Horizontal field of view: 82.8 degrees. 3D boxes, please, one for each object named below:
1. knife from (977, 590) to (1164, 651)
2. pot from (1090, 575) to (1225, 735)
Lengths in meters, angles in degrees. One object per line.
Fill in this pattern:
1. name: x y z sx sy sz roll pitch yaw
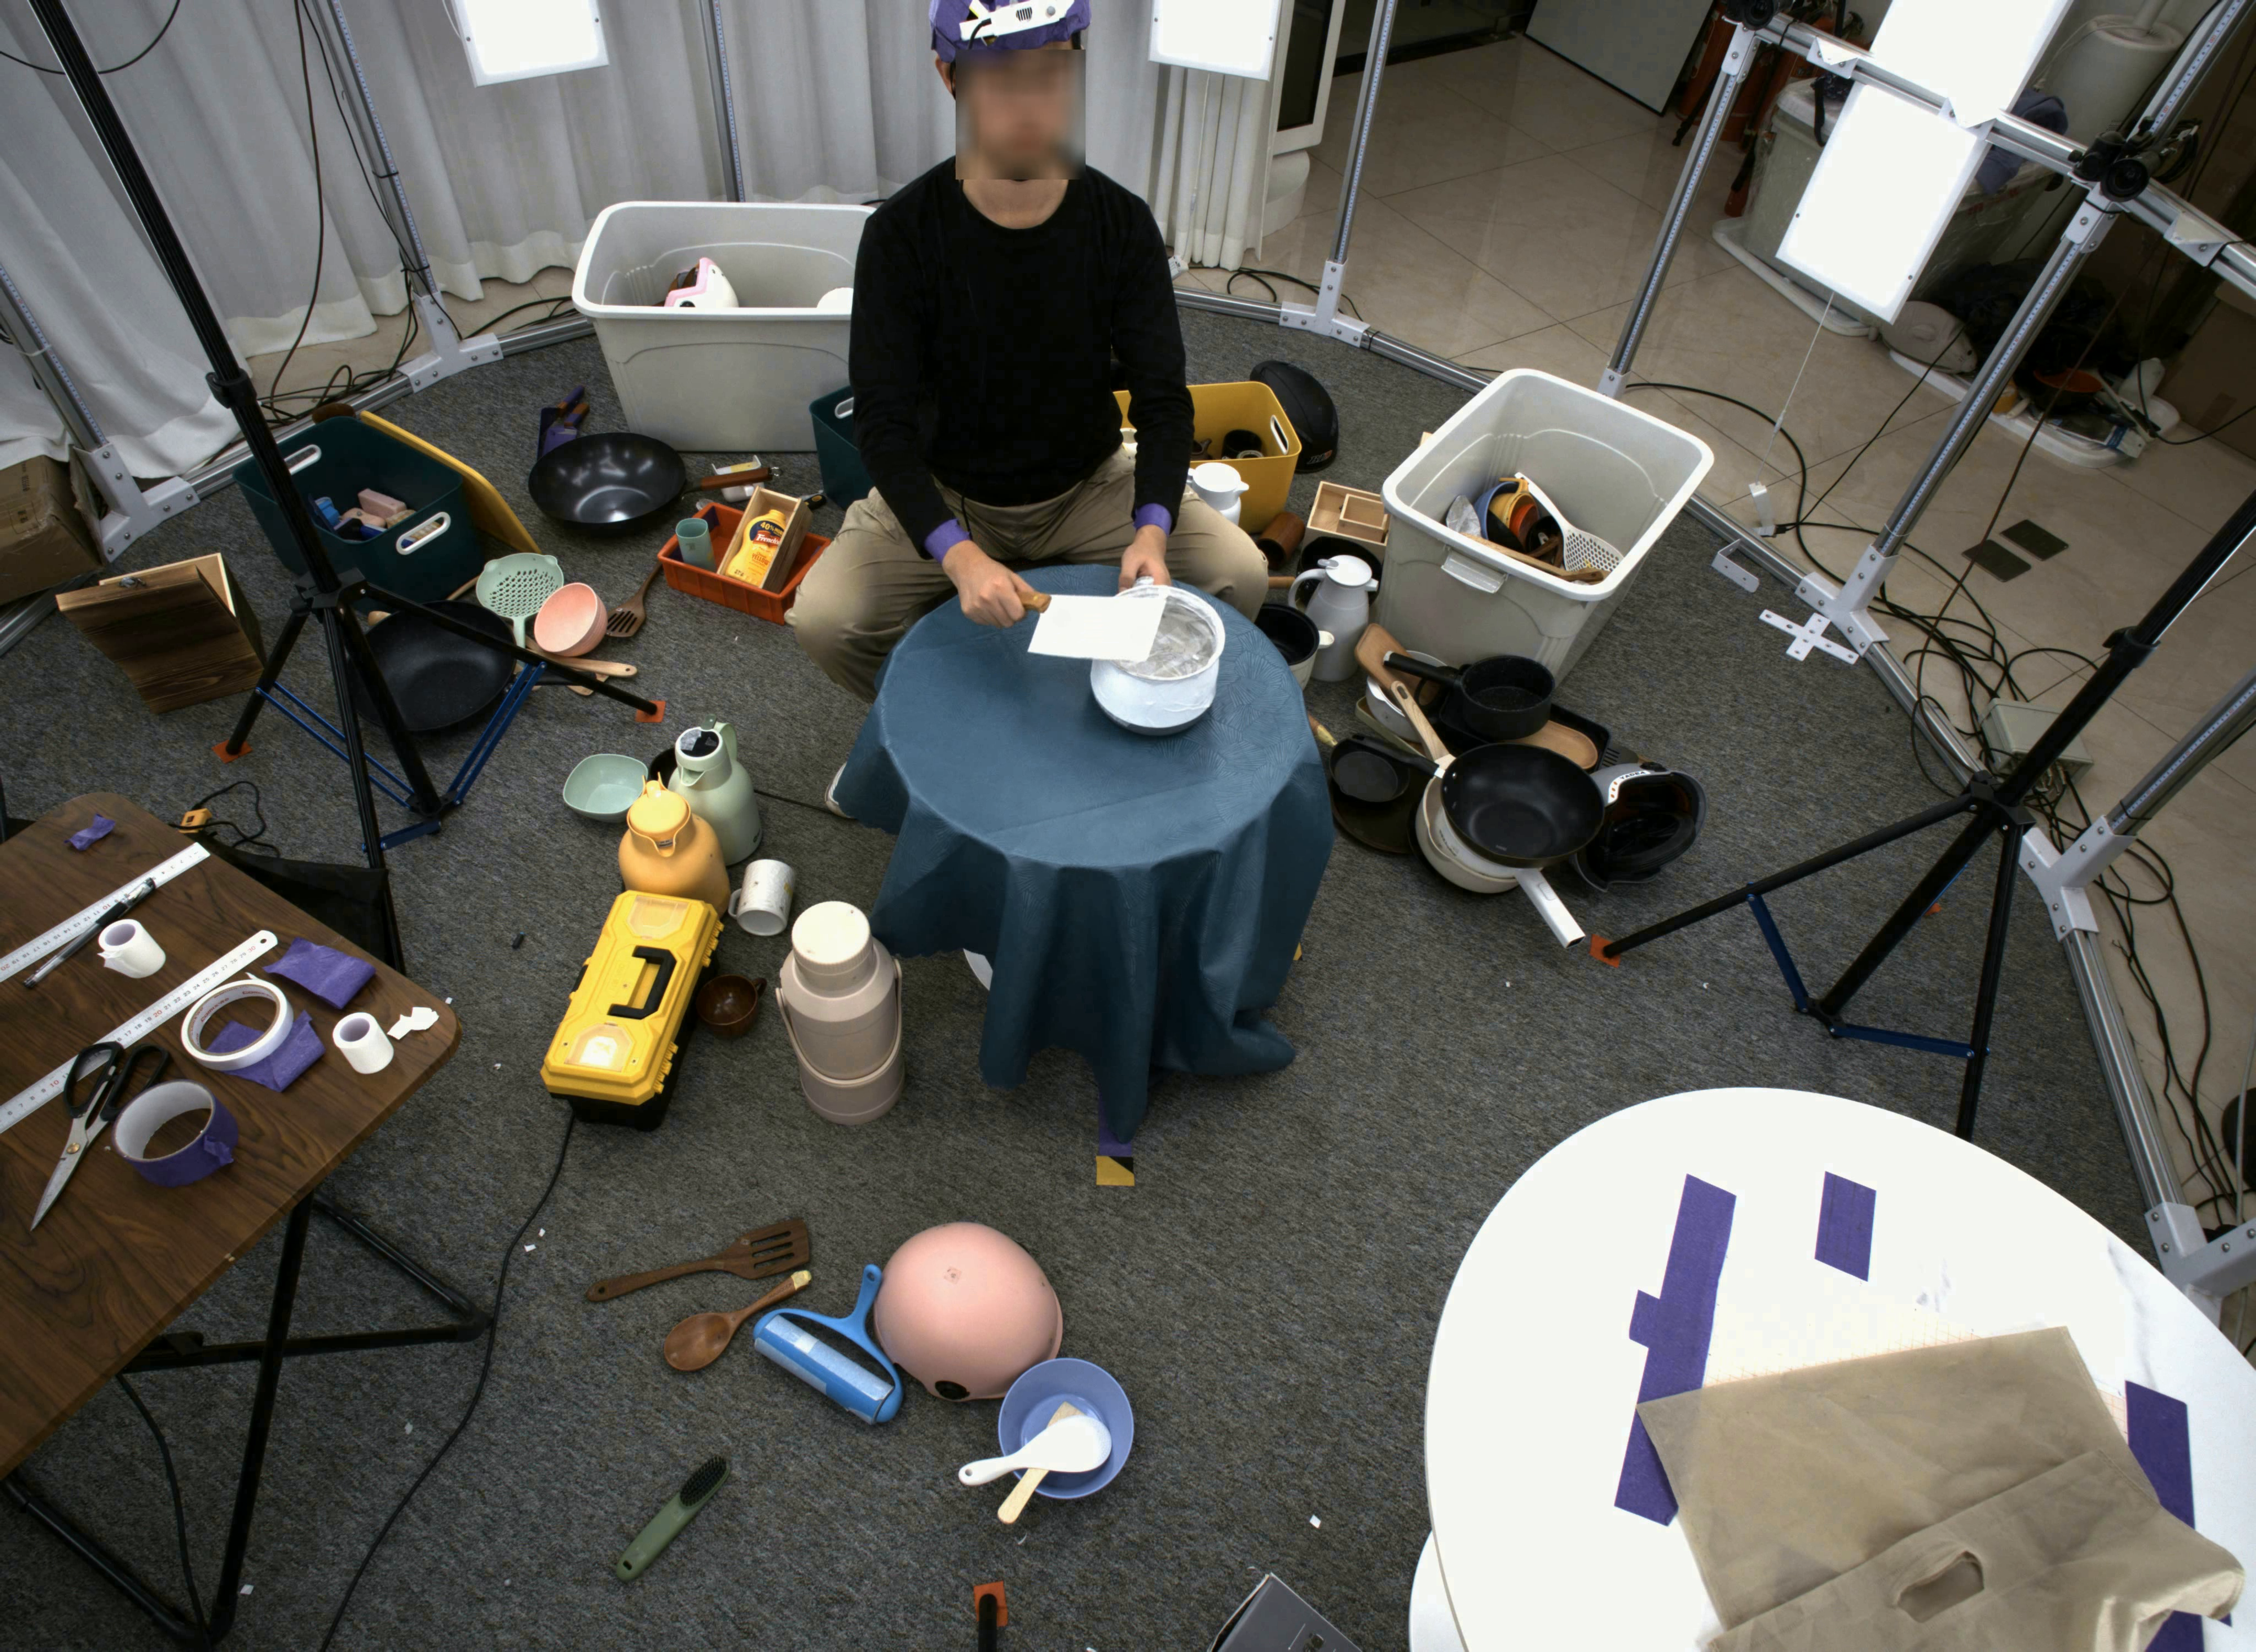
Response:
1. knife: -0.090 -0.279 1.749 0.307 0.020 0.094 7 68 32
2. pot: 0.033 -0.248 1.789 0.178 0.133 0.239 -6 55 -9
